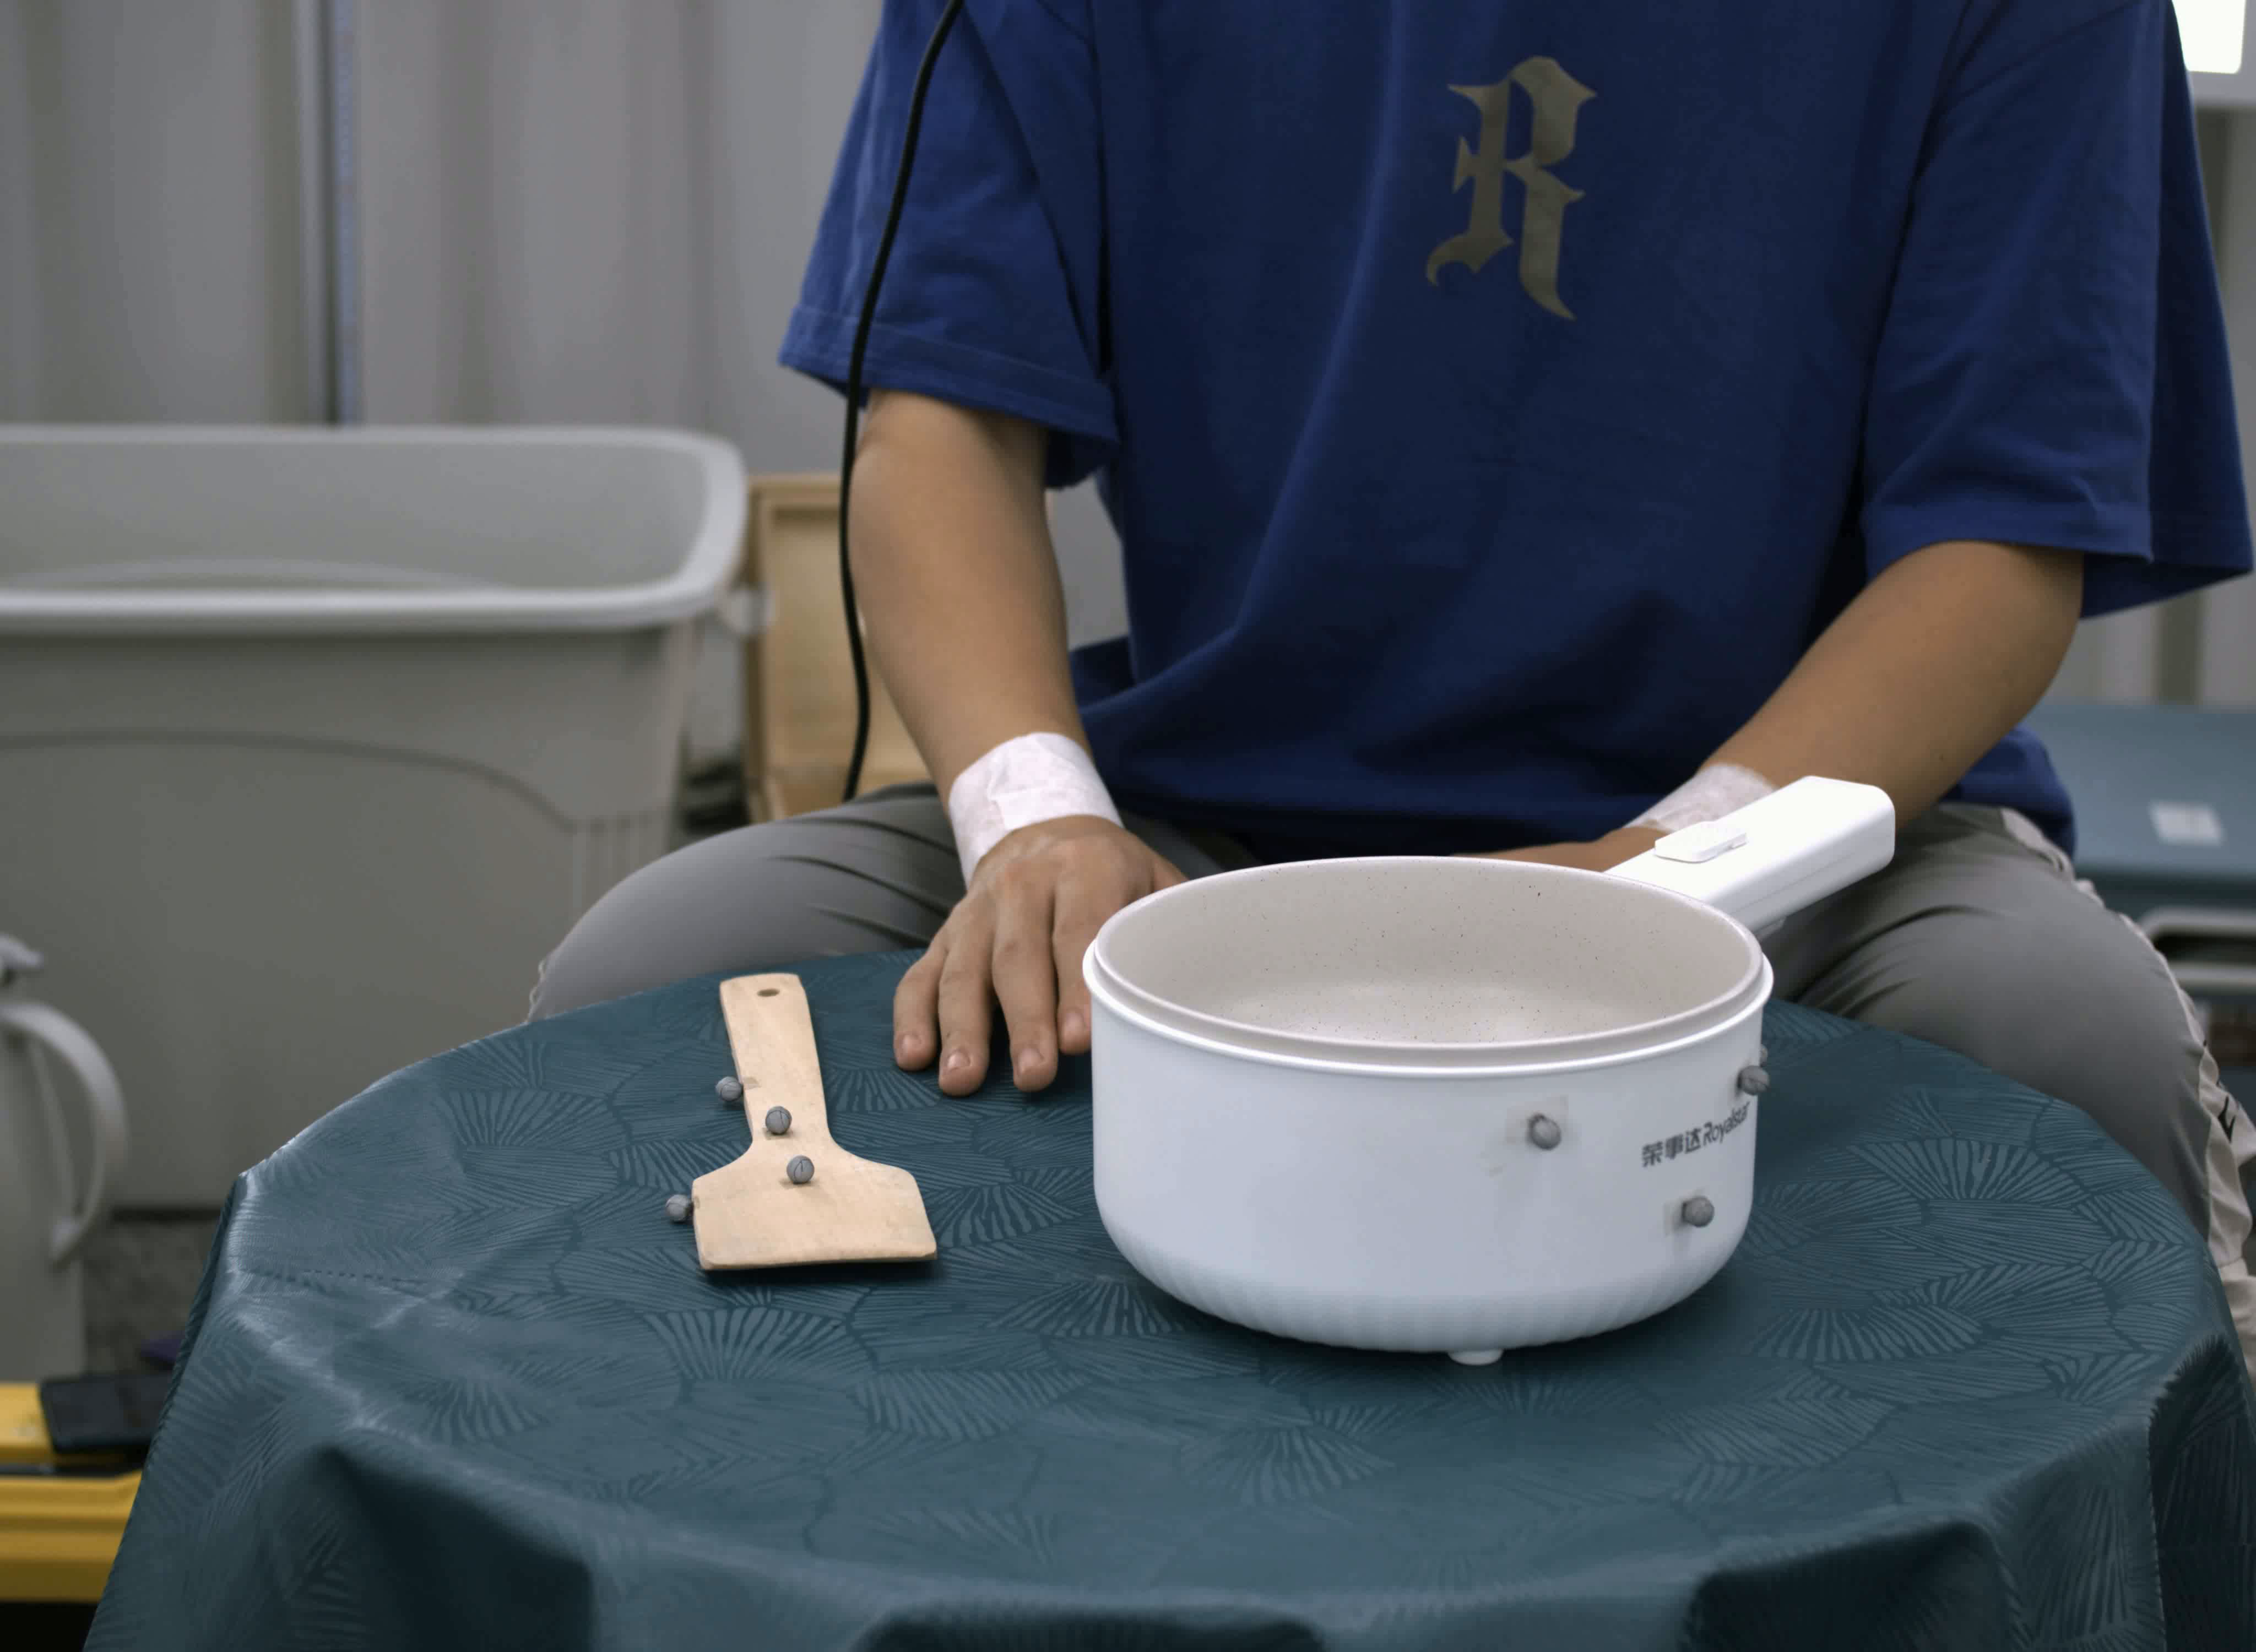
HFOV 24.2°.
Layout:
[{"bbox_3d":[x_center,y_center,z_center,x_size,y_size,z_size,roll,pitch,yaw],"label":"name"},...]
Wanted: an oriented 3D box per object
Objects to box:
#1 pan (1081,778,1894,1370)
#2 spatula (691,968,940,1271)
[{"bbox_3d":[0.132,0.069,1.604,0.199,0.103,0.356,9,17,34],"label":"pan"},{"bbox_3d":[-0.108,0.091,1.678,0.072,0.011,0.291,-2,16,-7],"label":"spatula"}]
